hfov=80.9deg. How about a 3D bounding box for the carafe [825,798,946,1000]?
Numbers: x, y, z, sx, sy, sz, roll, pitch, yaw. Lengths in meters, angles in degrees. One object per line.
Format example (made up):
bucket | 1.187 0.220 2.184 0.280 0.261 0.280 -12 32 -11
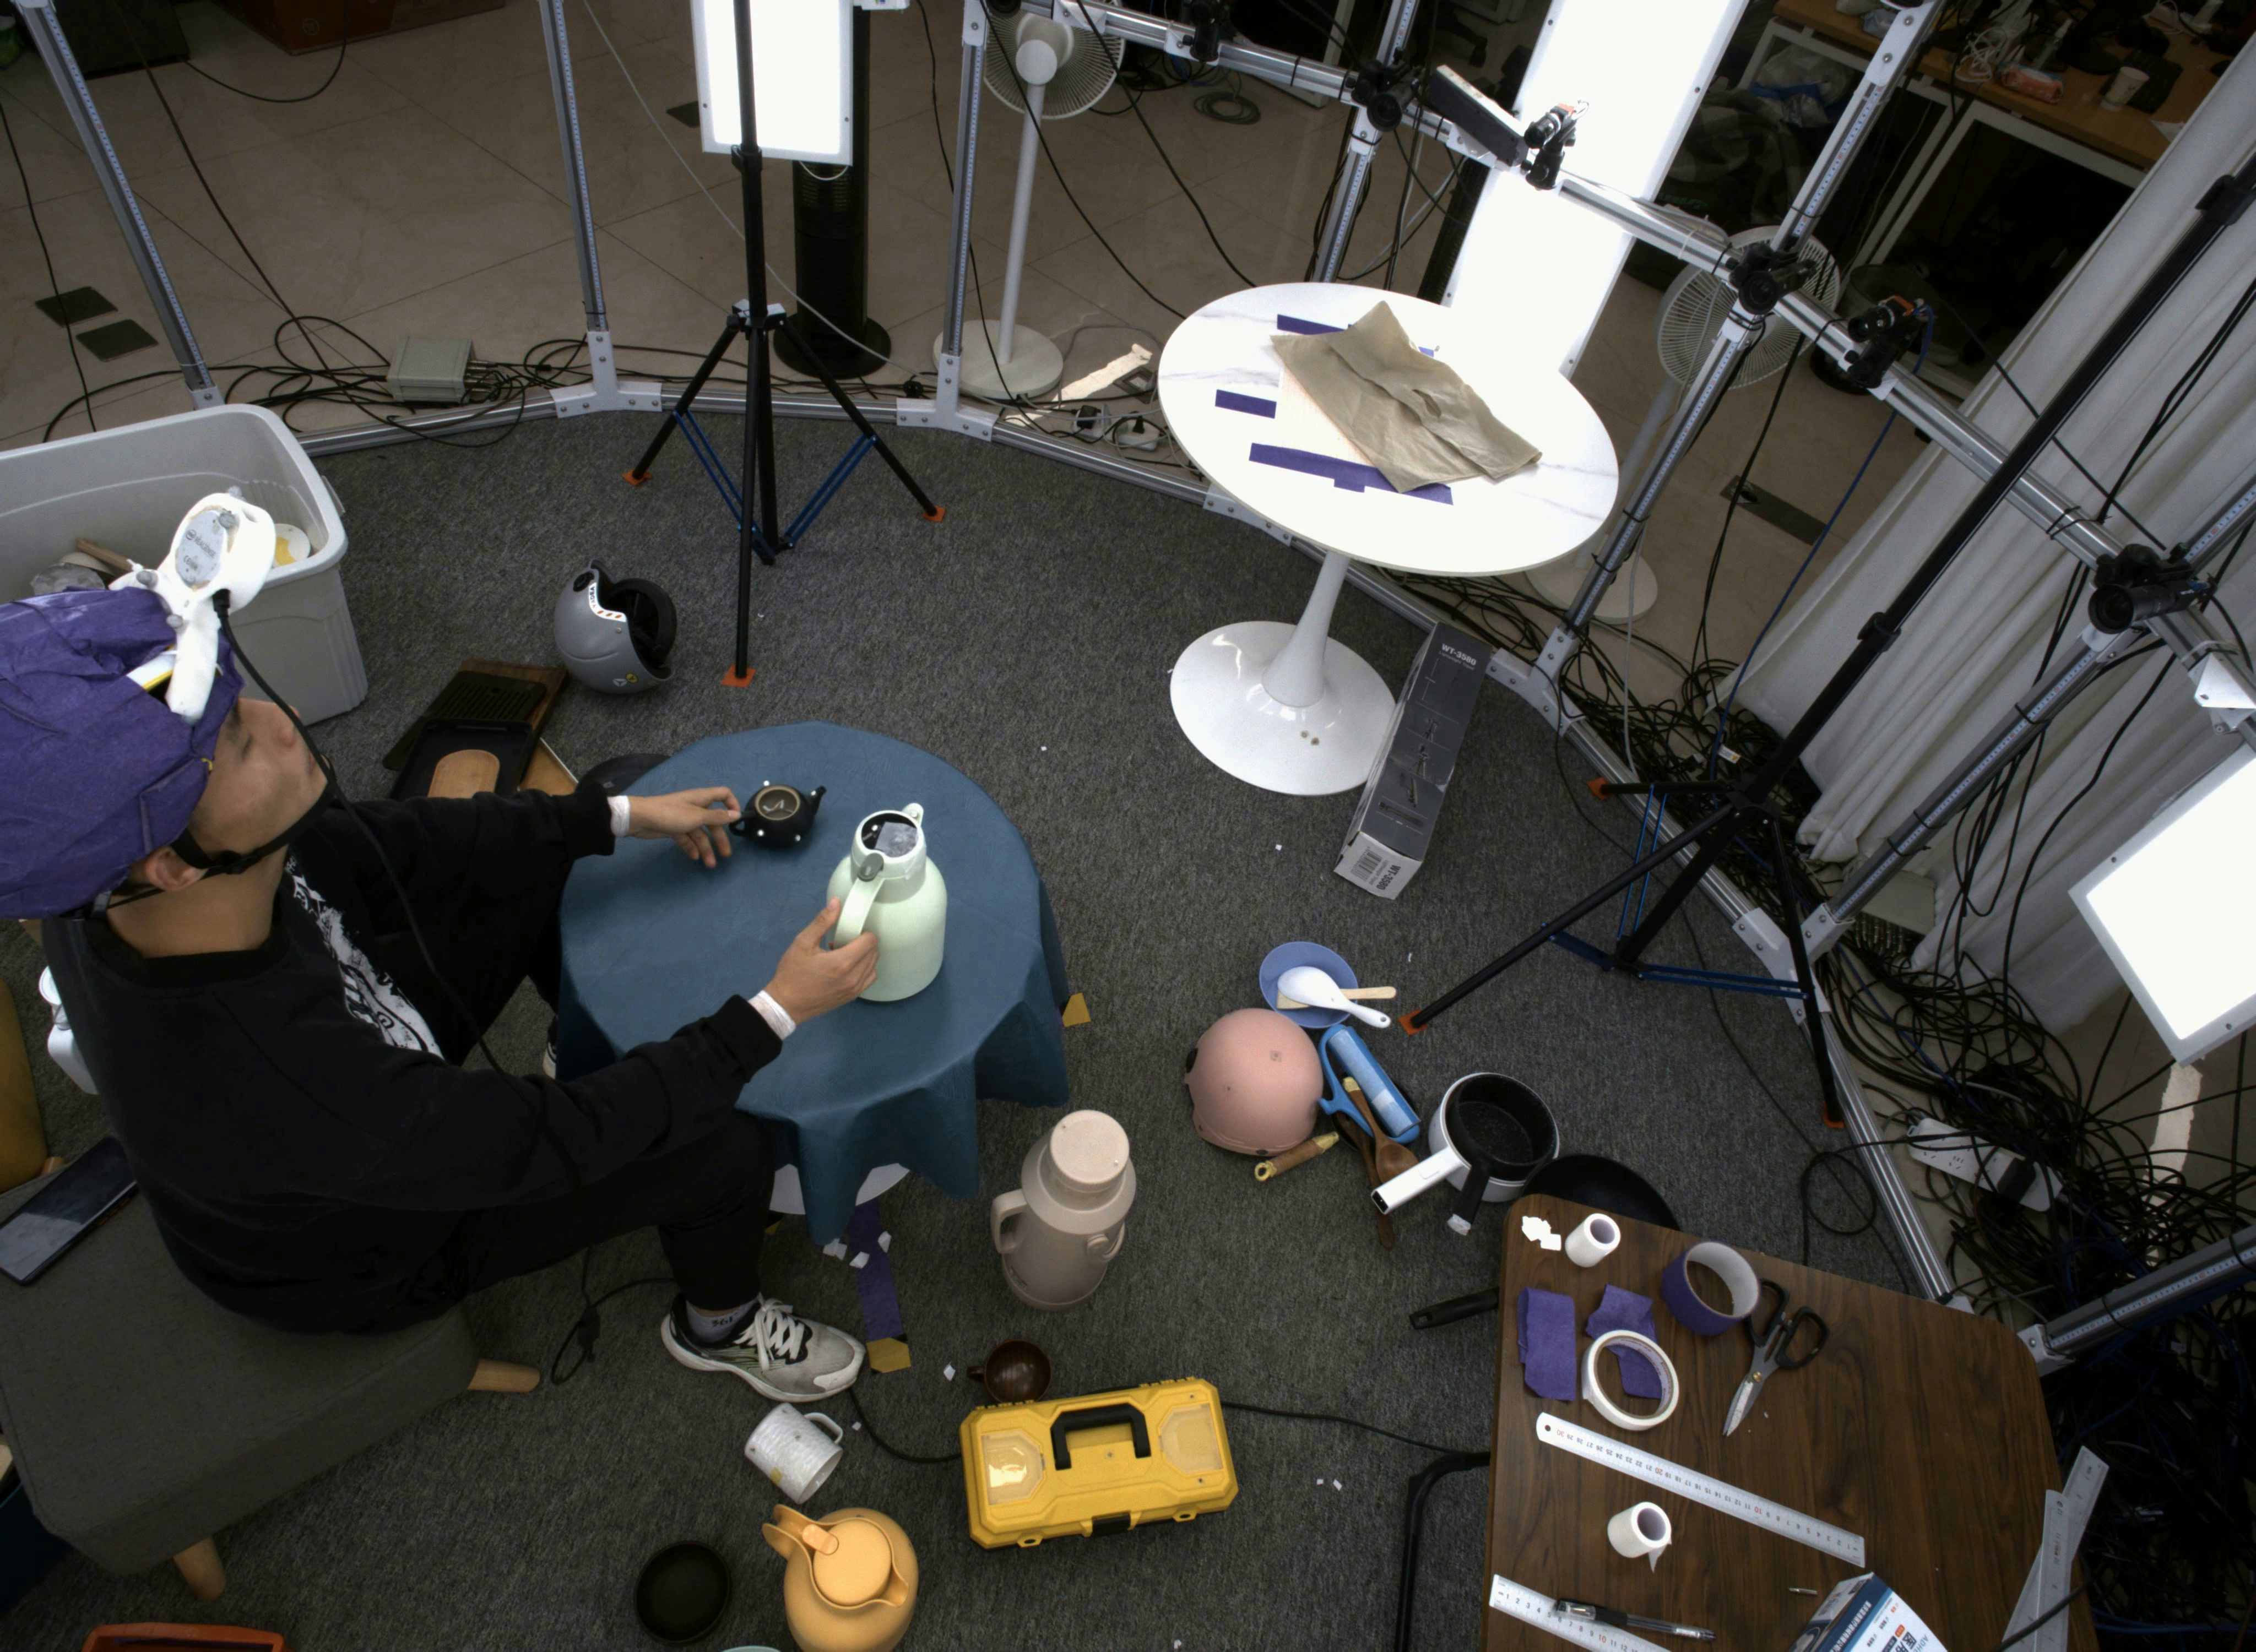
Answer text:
carafe | -0.290 0.094 1.524 0.143 0.262 0.185 20 54 3

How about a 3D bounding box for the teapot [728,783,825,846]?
teapot | -0.458 -0.017 1.690 0.134 0.054 0.088 -21 59 -27
